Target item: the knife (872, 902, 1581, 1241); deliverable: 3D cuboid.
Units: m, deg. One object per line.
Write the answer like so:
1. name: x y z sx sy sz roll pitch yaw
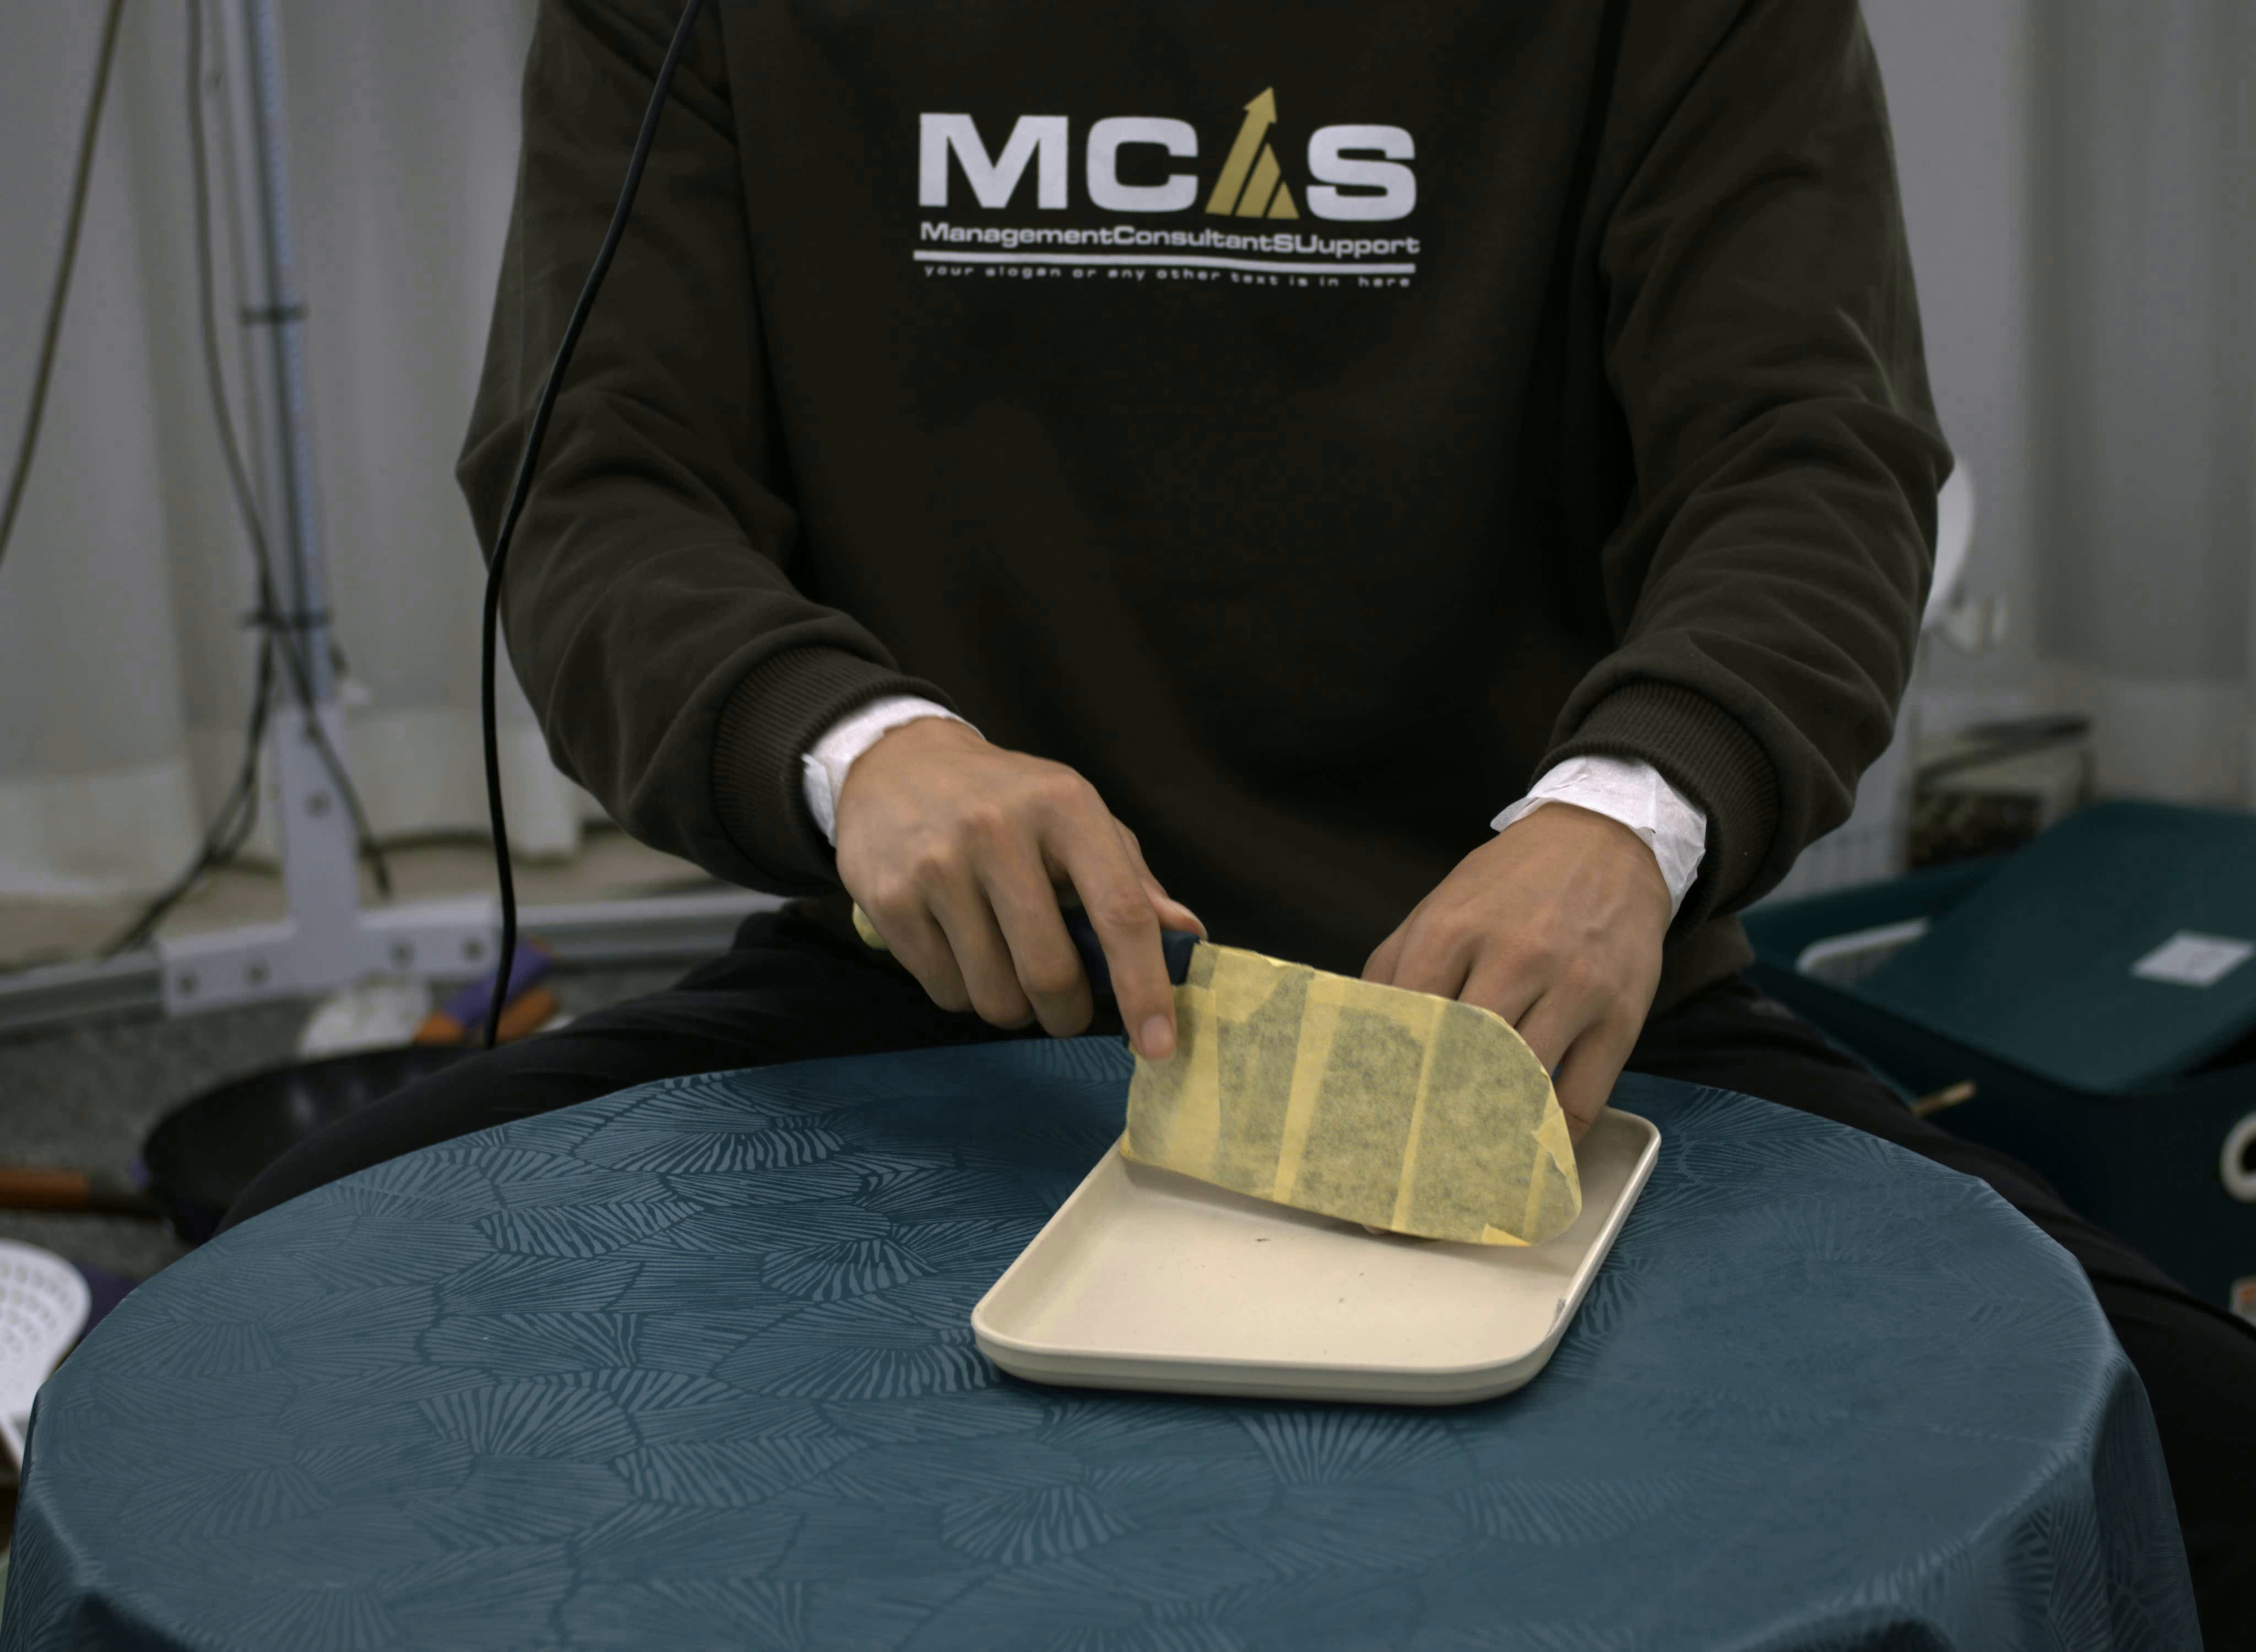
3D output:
1. knife: 0.026 0.073 1.696 0.291 0.081 0.027 16 1 40

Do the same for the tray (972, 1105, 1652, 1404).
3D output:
1. tray: 0.059 0.125 1.632 0.171 0.017 0.240 1 15 15
